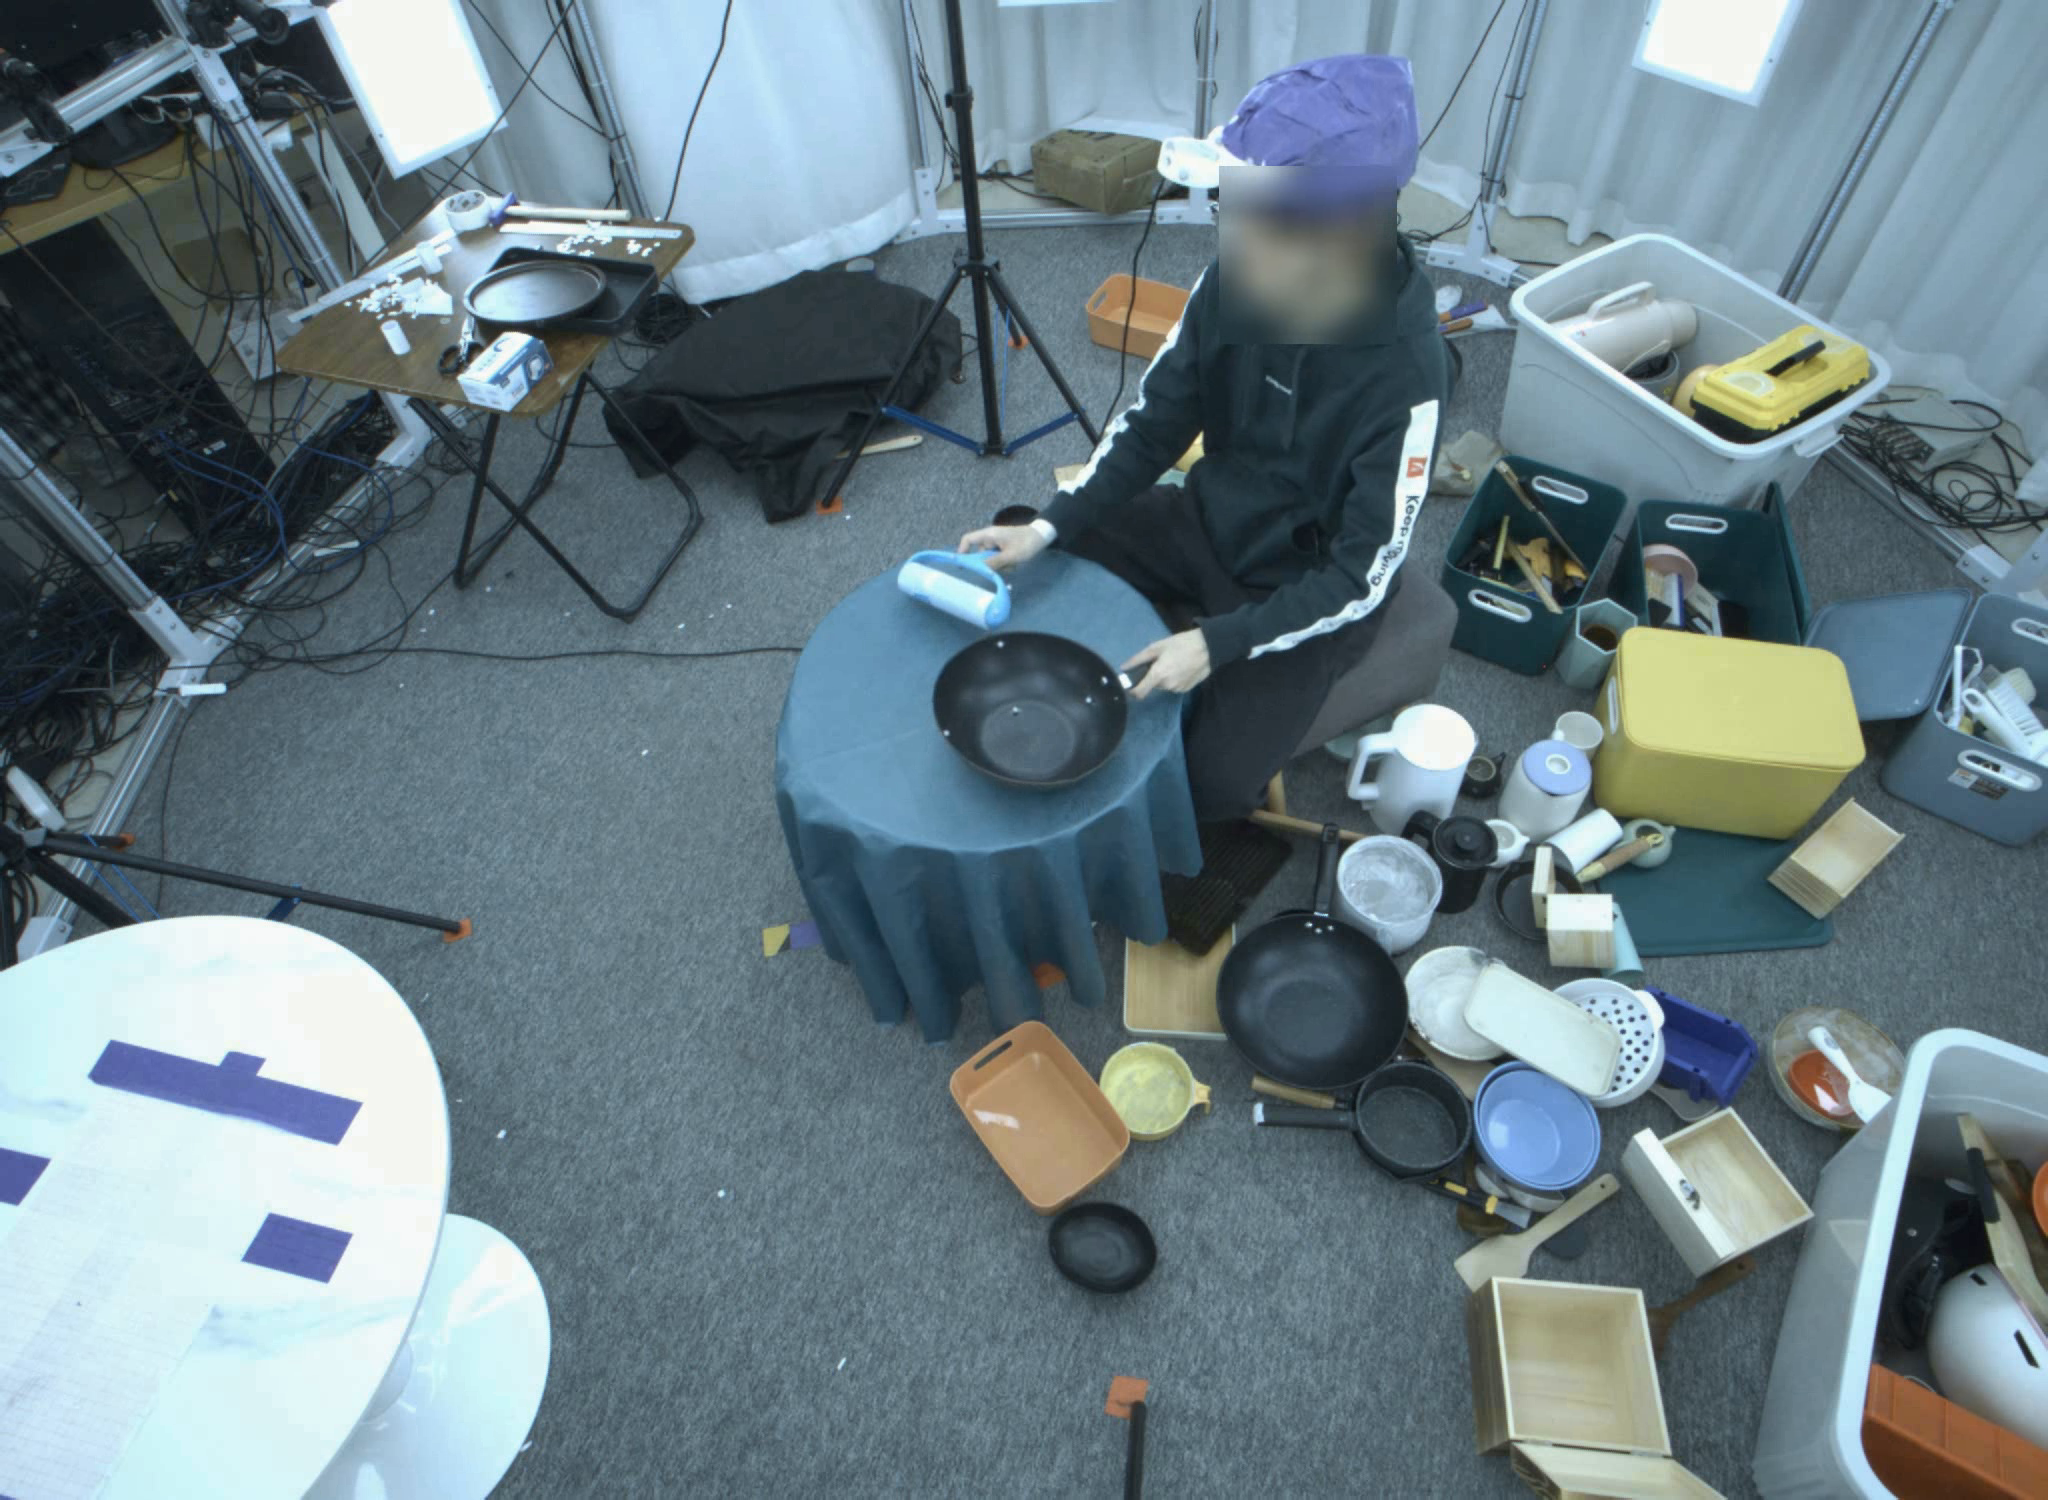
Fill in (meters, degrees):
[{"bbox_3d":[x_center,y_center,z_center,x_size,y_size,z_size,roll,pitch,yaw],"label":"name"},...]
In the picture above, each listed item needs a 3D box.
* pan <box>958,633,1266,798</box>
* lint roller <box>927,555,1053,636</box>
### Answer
[{"bbox_3d":[0.130,-0.058,1.773,0.468,0.087,0.283,-14,57,-18],"label":"pan"},{"bbox_3d":[-0.027,-0.266,1.899,0.224,0.069,0.181,25,54,35],"label":"lint roller"}]
